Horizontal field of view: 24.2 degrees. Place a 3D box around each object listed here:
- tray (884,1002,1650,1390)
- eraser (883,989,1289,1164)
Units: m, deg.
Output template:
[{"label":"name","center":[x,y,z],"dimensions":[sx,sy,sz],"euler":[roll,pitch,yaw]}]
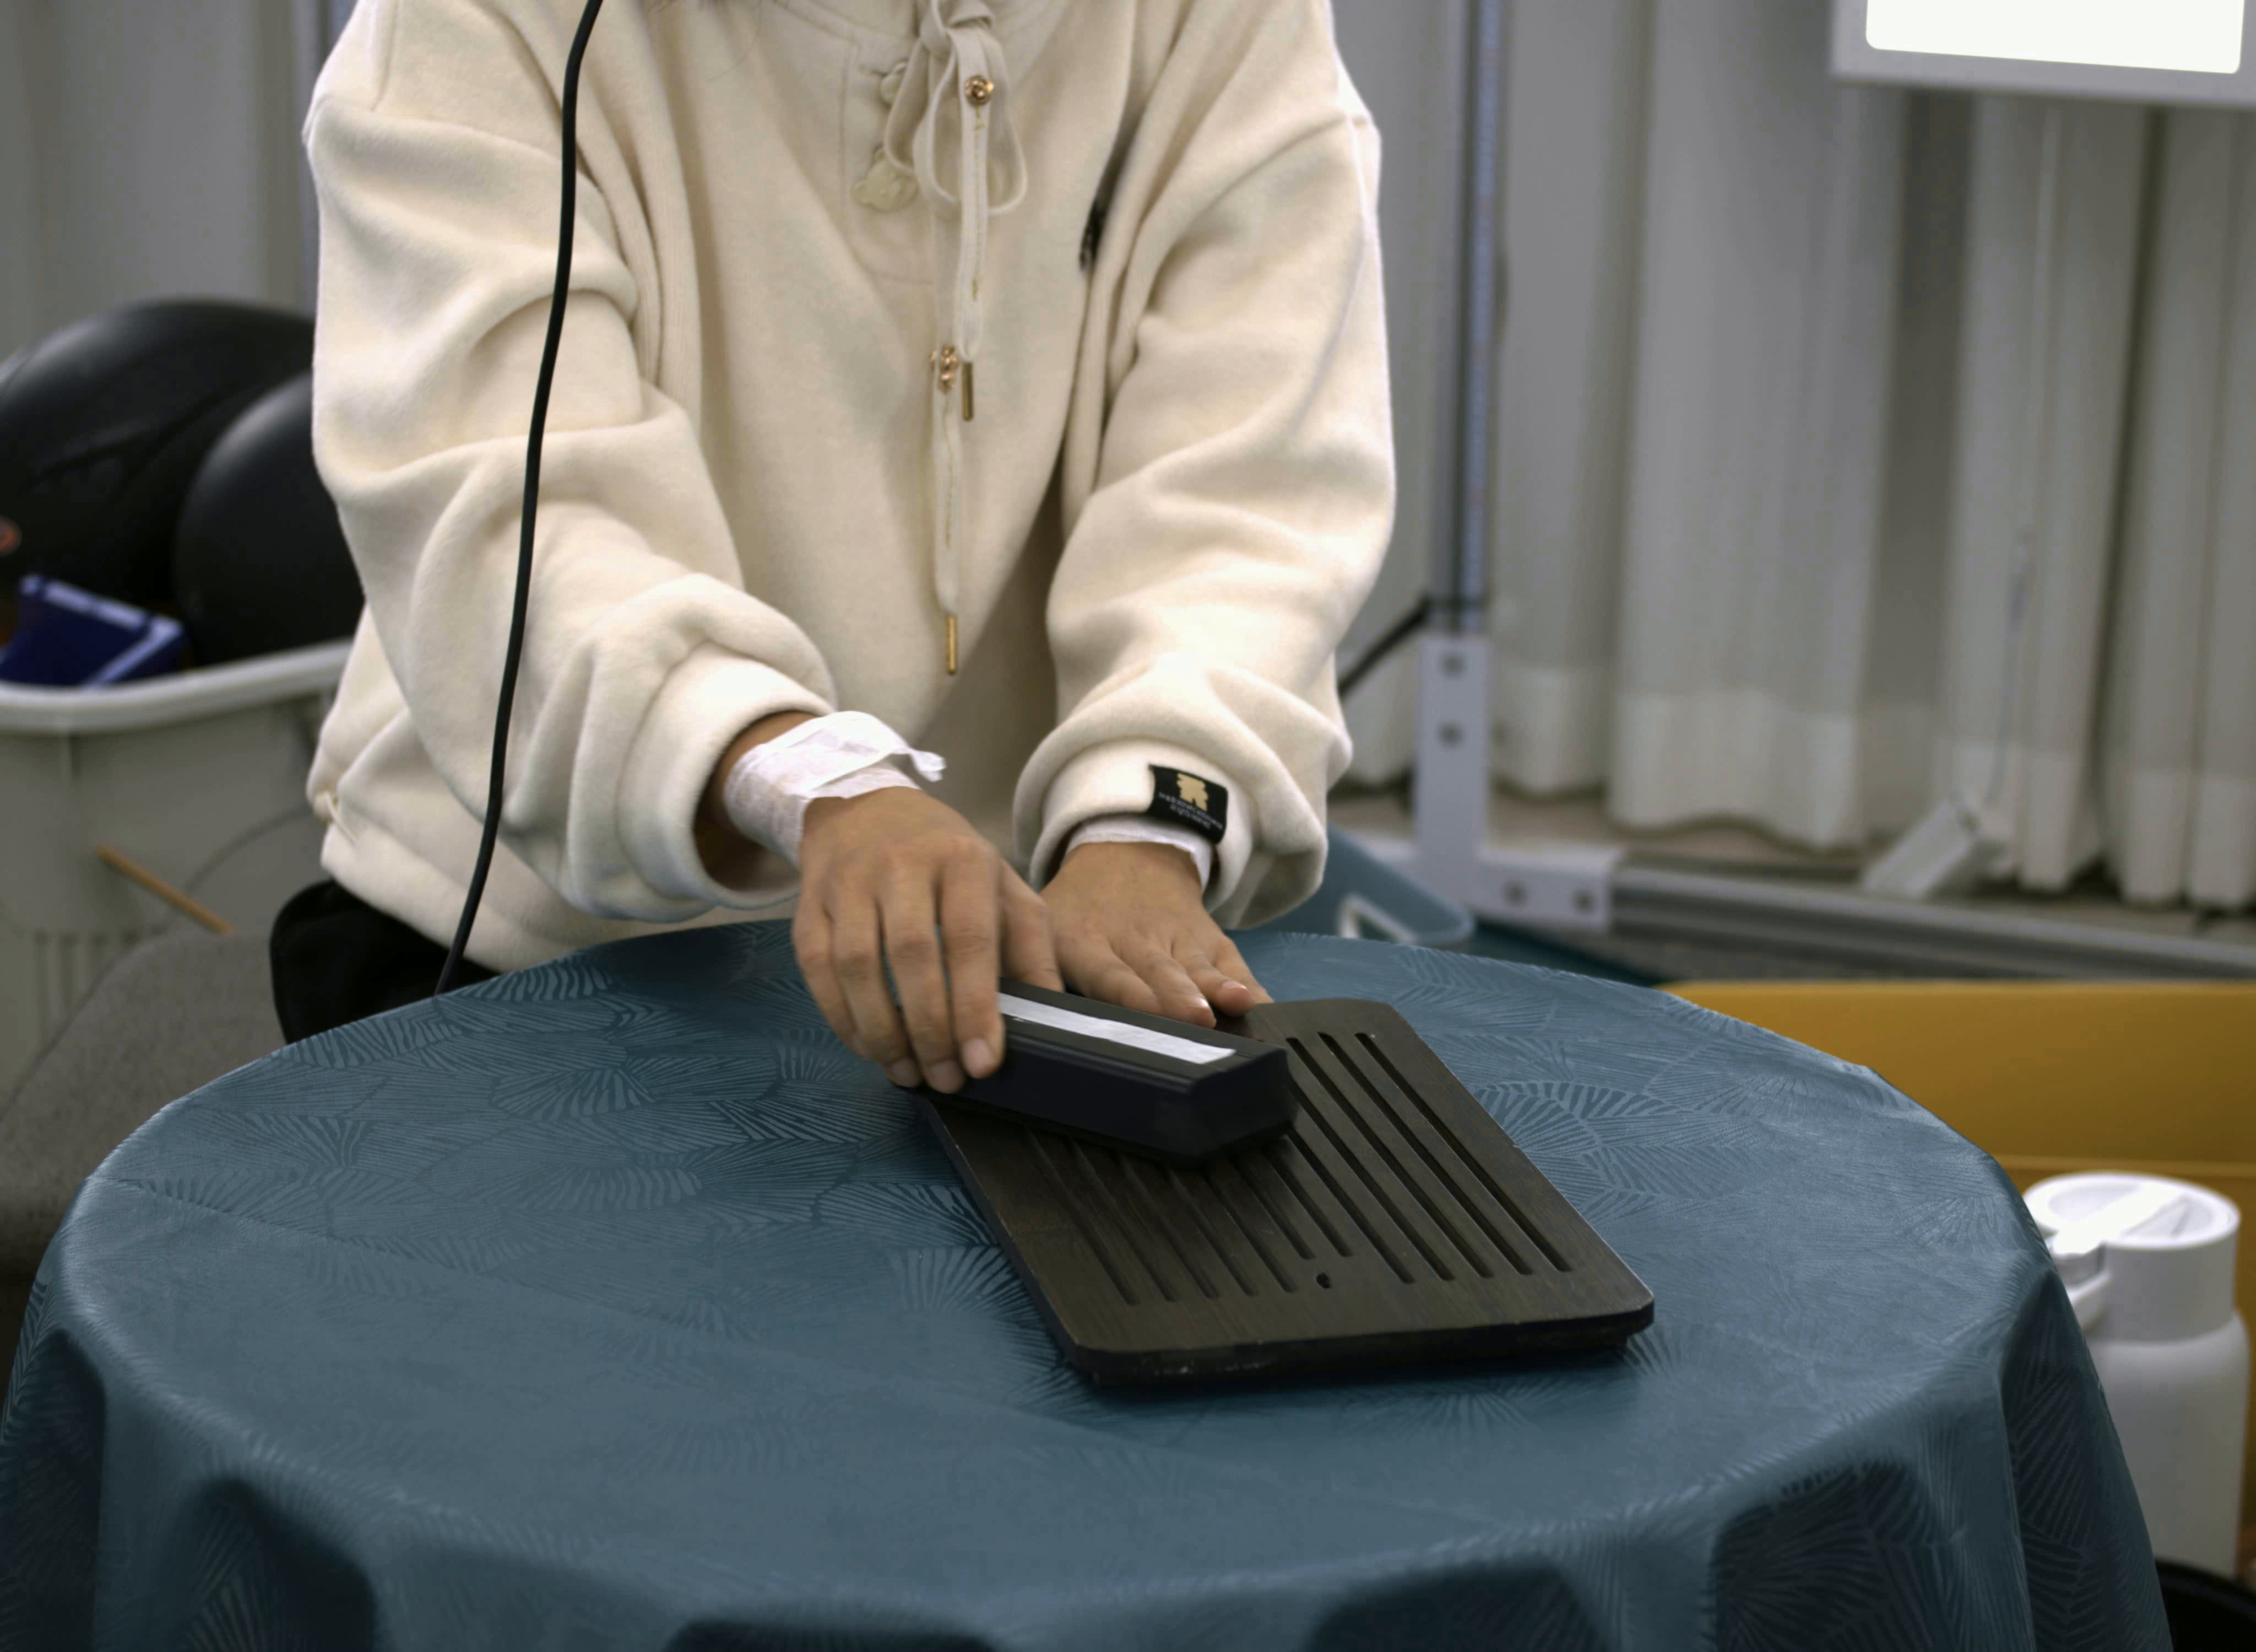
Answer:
[{"label":"tray","center":[0.034,0.109,1.600],"dimensions":[0.170,0.019,0.303],"euler":[-3,16,-13]},{"label":"eraser","center":[-0.013,0.077,1.637],"dimensions":[0.124,0.030,0.054],"euler":[11,15,38]}]
